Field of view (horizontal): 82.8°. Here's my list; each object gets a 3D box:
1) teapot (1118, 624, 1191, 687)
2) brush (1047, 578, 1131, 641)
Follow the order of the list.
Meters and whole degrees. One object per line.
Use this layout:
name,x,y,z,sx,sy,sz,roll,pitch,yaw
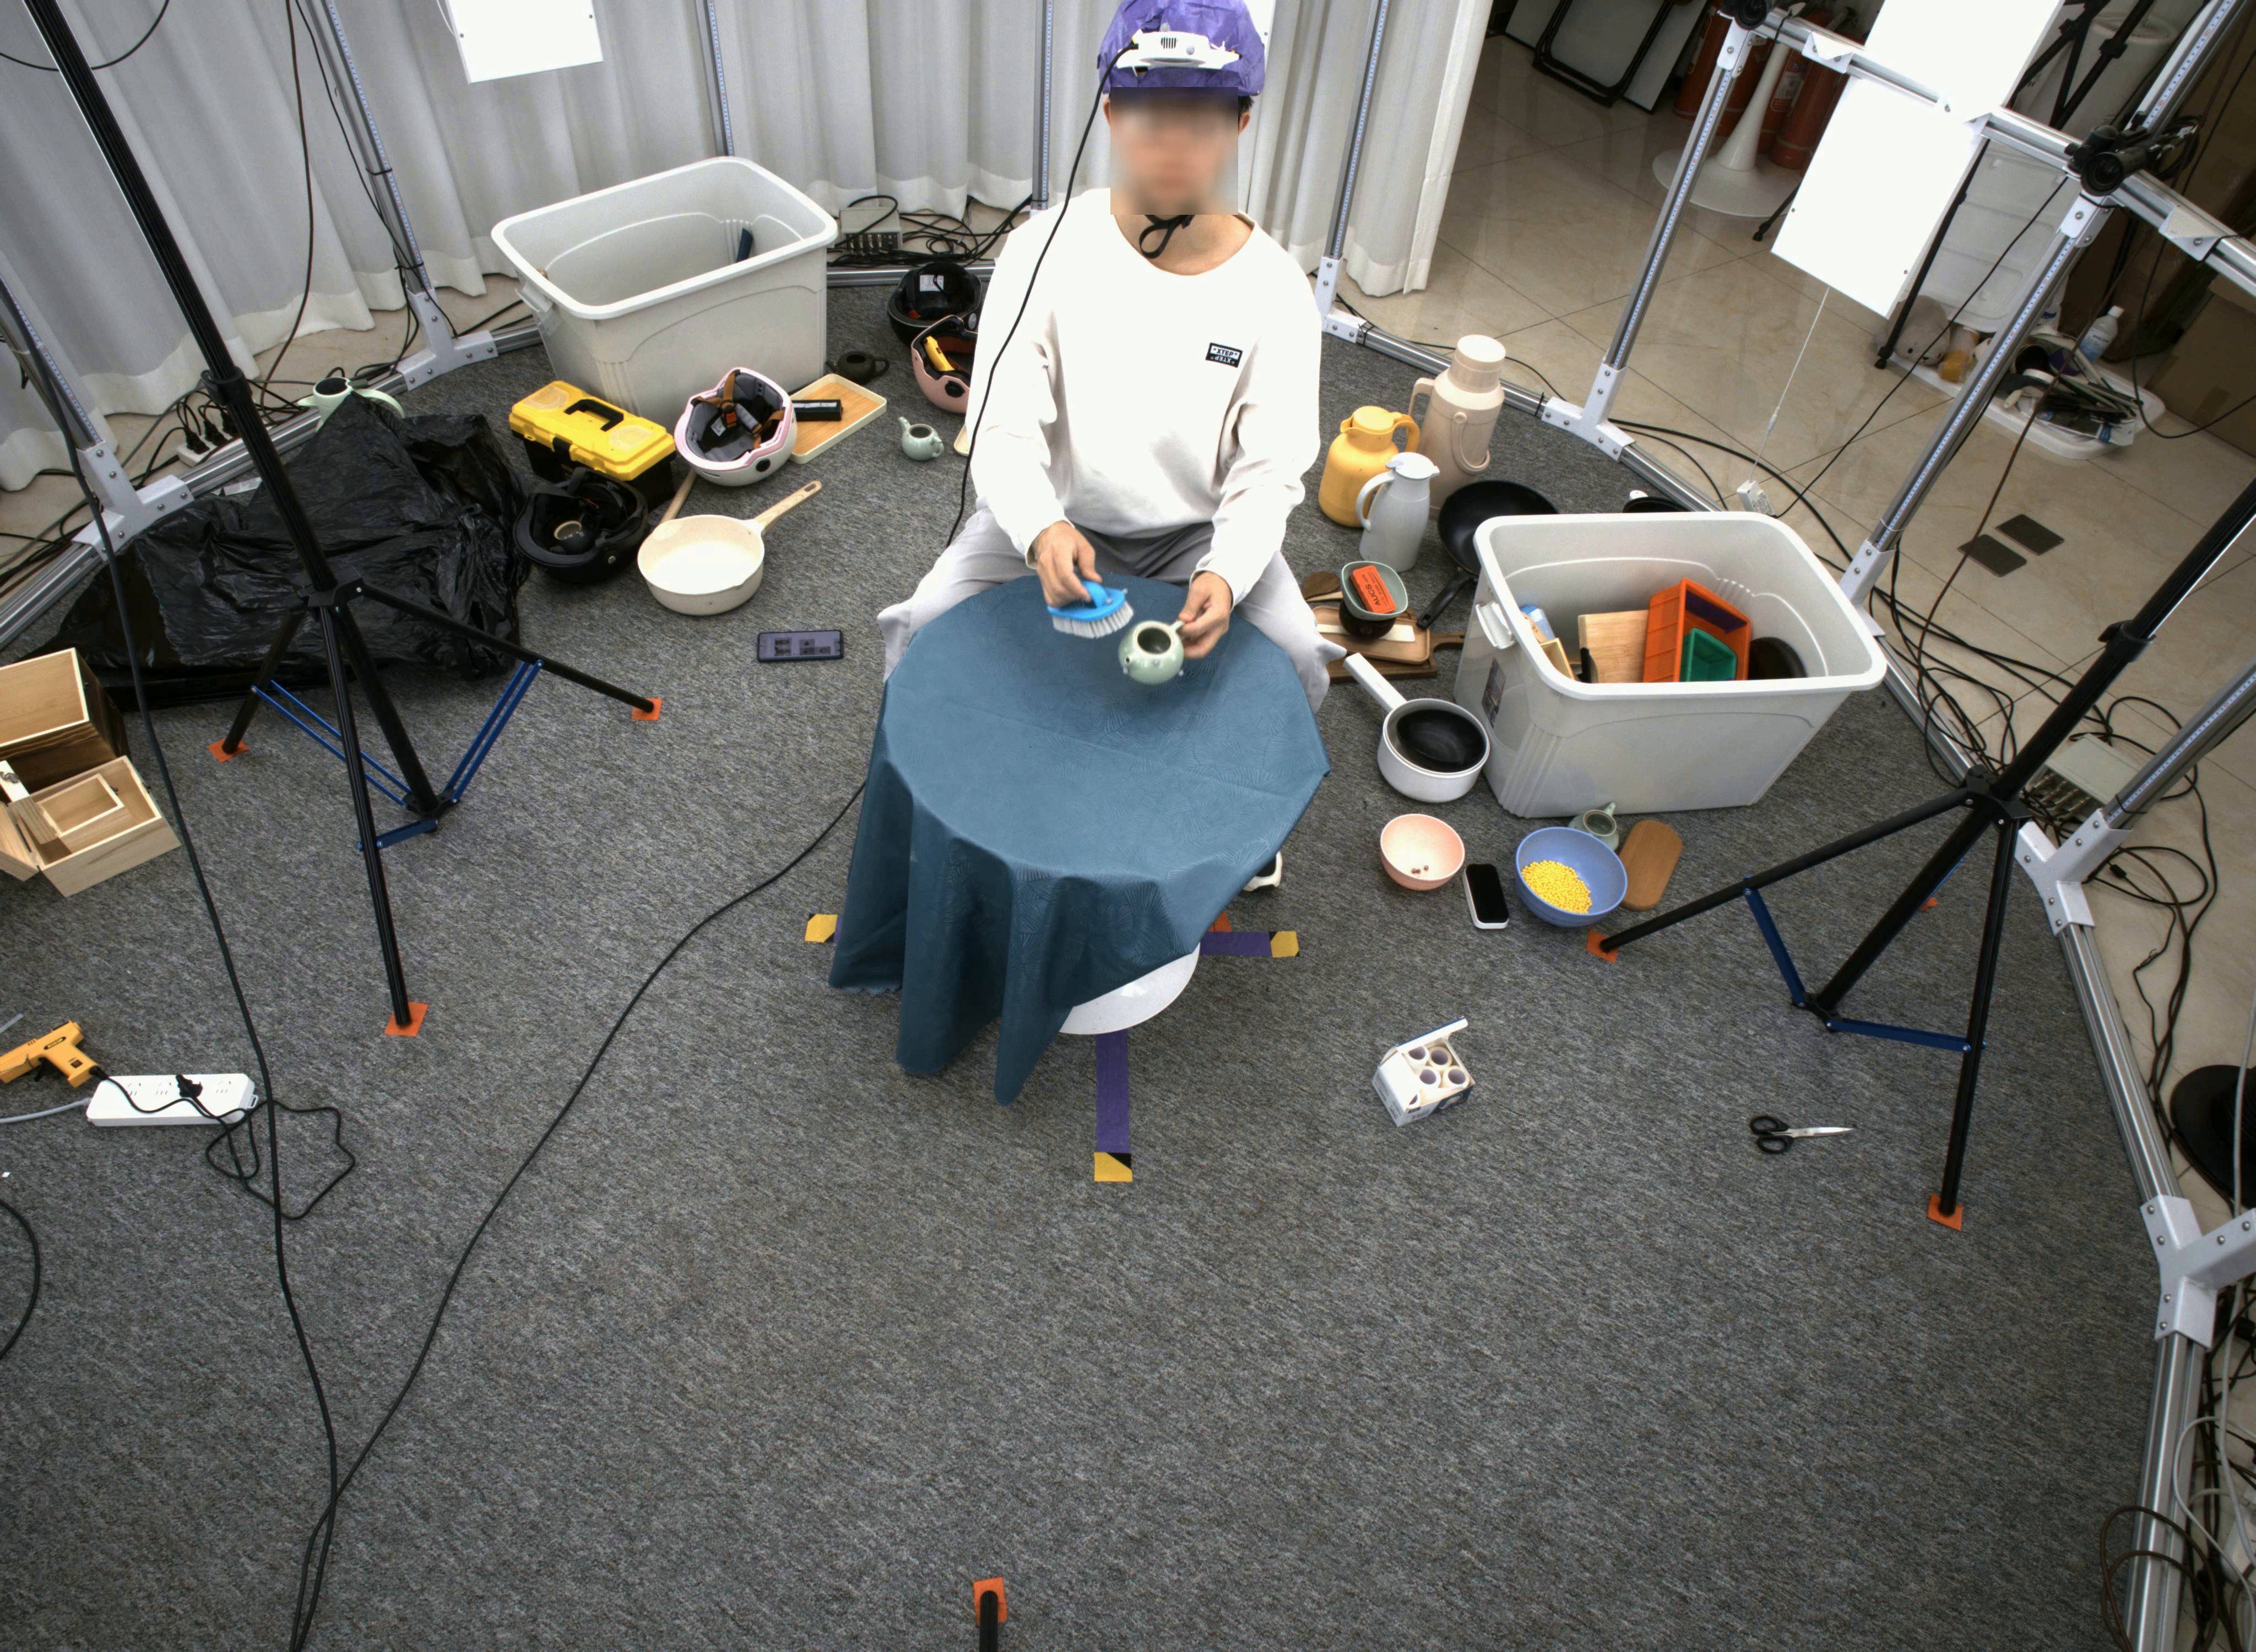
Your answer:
teapot,0.039,-0.241,1.781,0.129,0.059,0.093,-33,66,-26
brush,-0.061,-0.308,1.767,0.085,0.062,0.144,-41,34,-18
